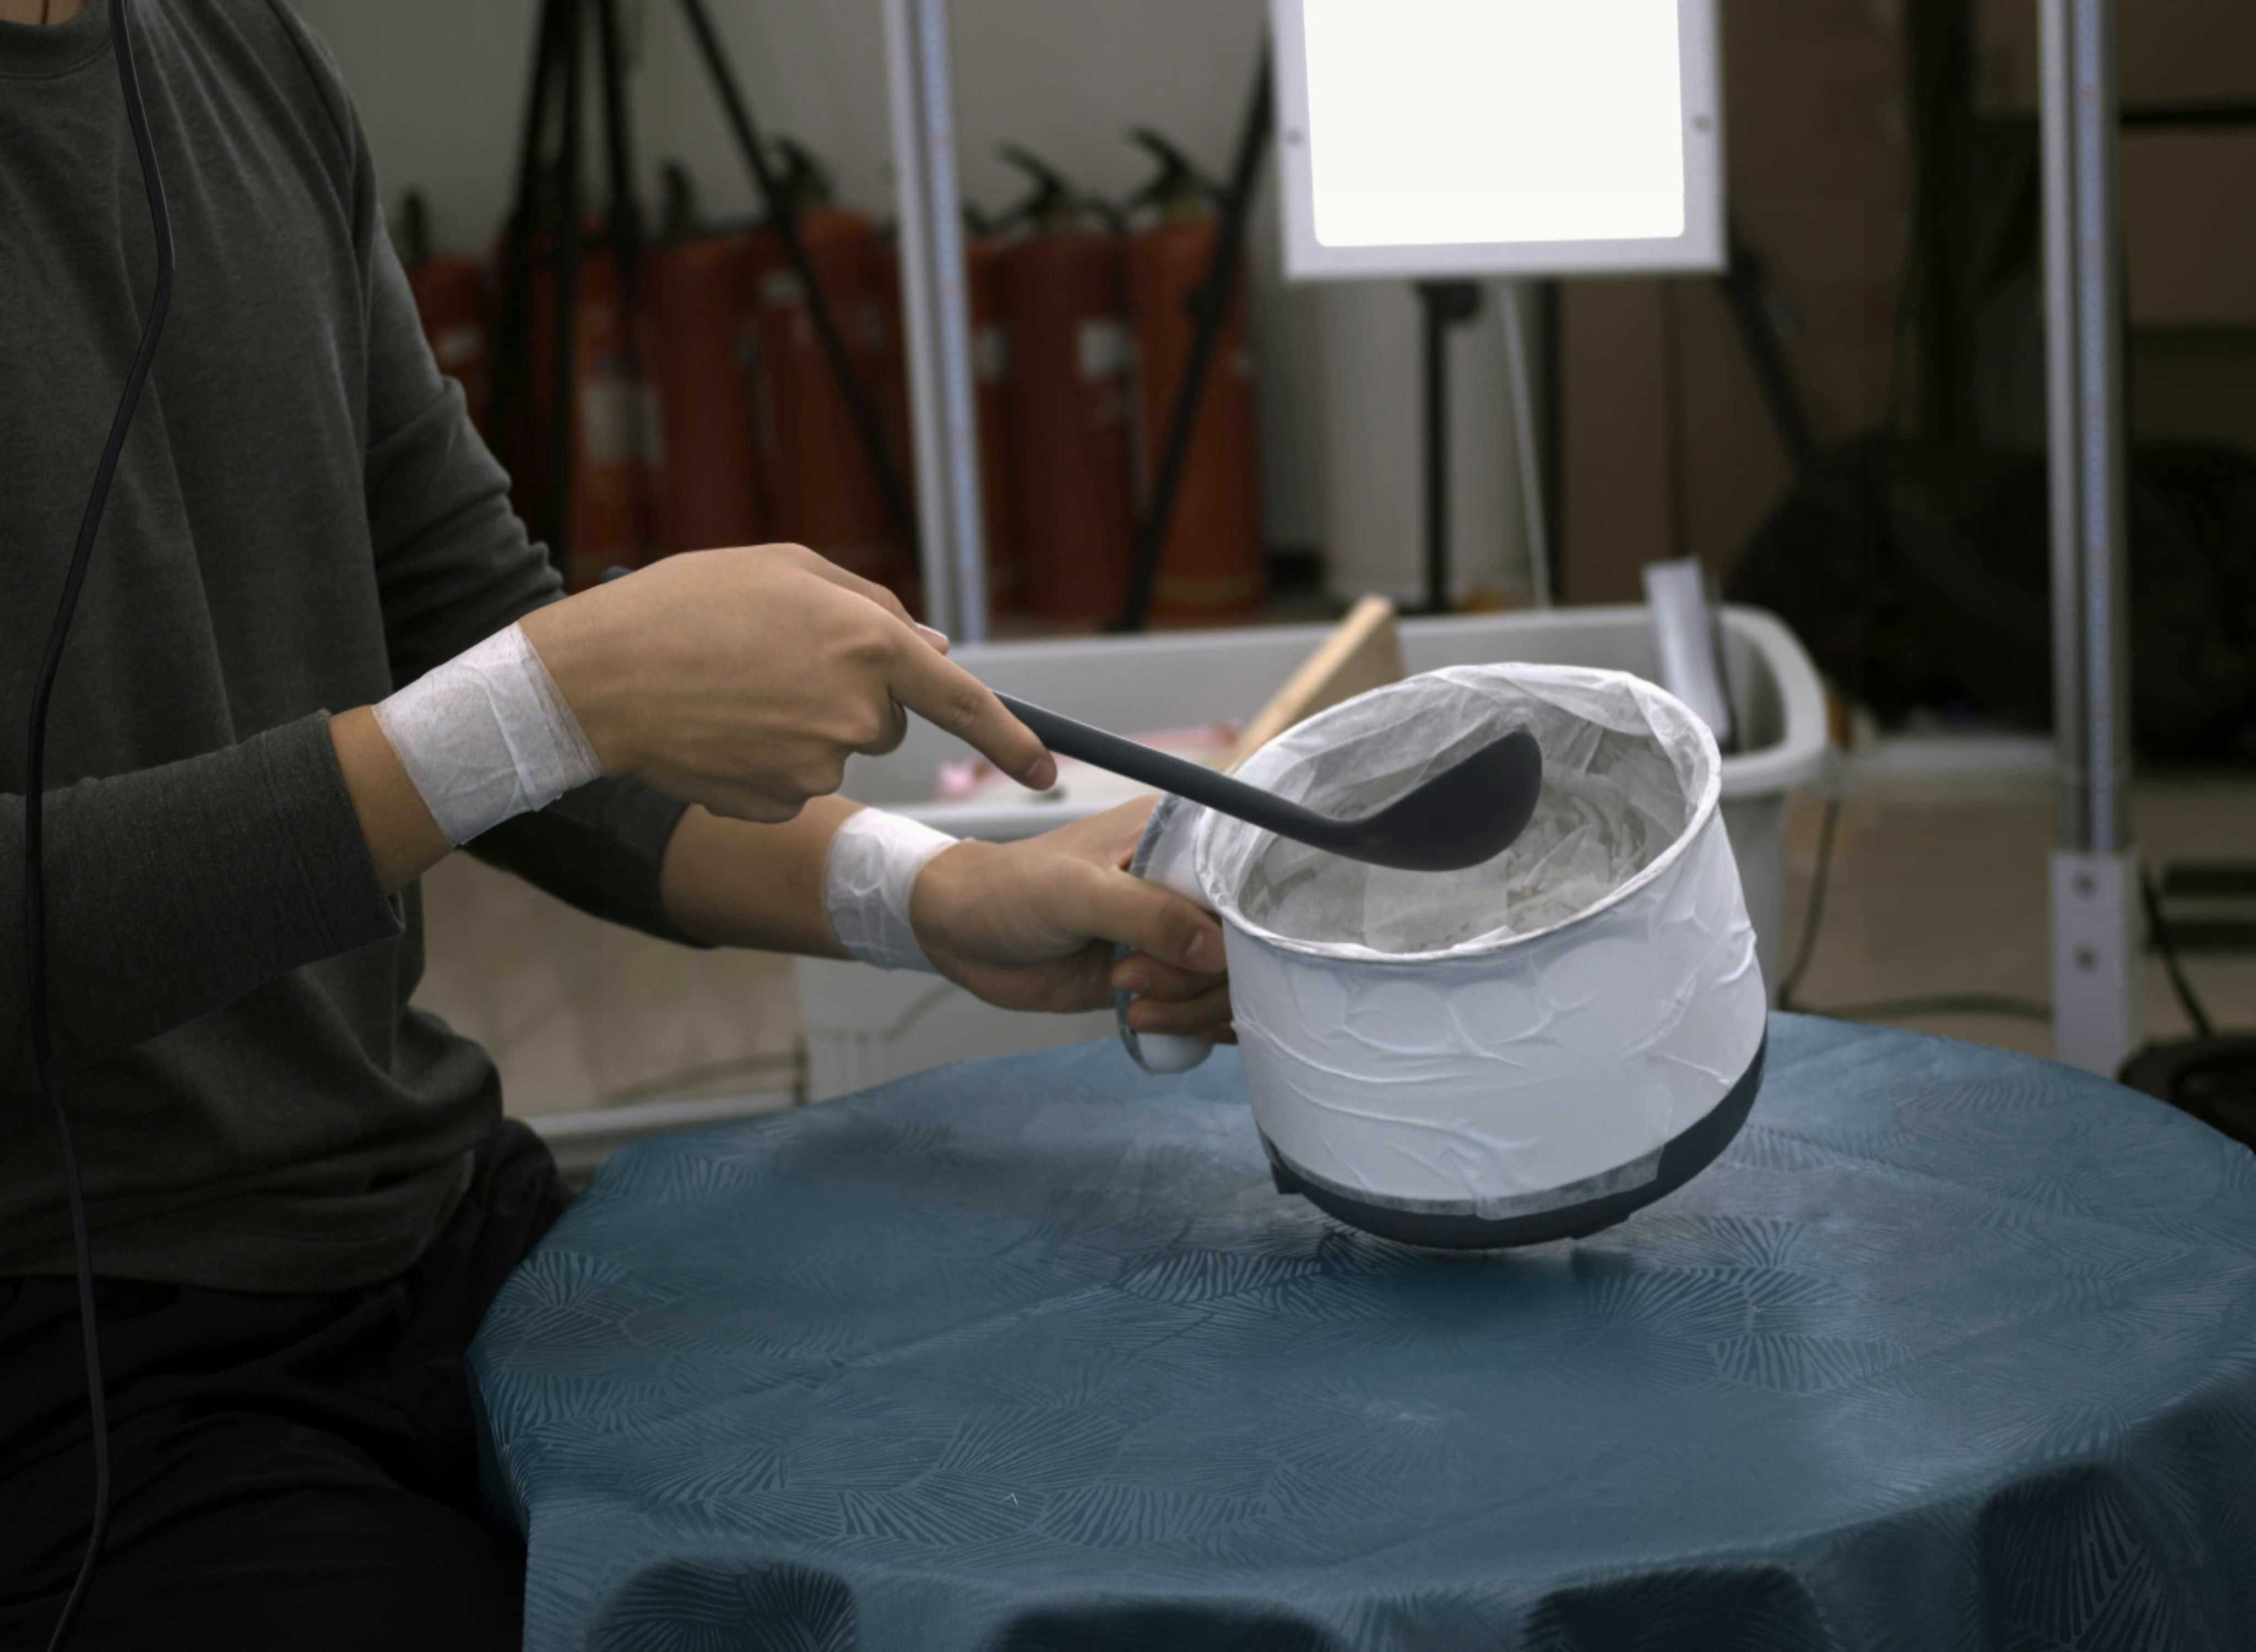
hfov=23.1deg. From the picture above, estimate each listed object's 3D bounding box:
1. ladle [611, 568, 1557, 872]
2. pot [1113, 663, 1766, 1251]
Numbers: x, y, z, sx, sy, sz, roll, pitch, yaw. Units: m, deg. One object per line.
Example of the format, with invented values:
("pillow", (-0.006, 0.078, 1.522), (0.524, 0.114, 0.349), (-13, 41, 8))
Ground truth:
("ladle", (-0.013, -0.052, 1.795), (0.313, 0.064, 0.086), (19, -6, 1))
("pot", (0.096, 0.045, 1.844), (0.238, 0.136, 0.175), (4, 34, 29))
